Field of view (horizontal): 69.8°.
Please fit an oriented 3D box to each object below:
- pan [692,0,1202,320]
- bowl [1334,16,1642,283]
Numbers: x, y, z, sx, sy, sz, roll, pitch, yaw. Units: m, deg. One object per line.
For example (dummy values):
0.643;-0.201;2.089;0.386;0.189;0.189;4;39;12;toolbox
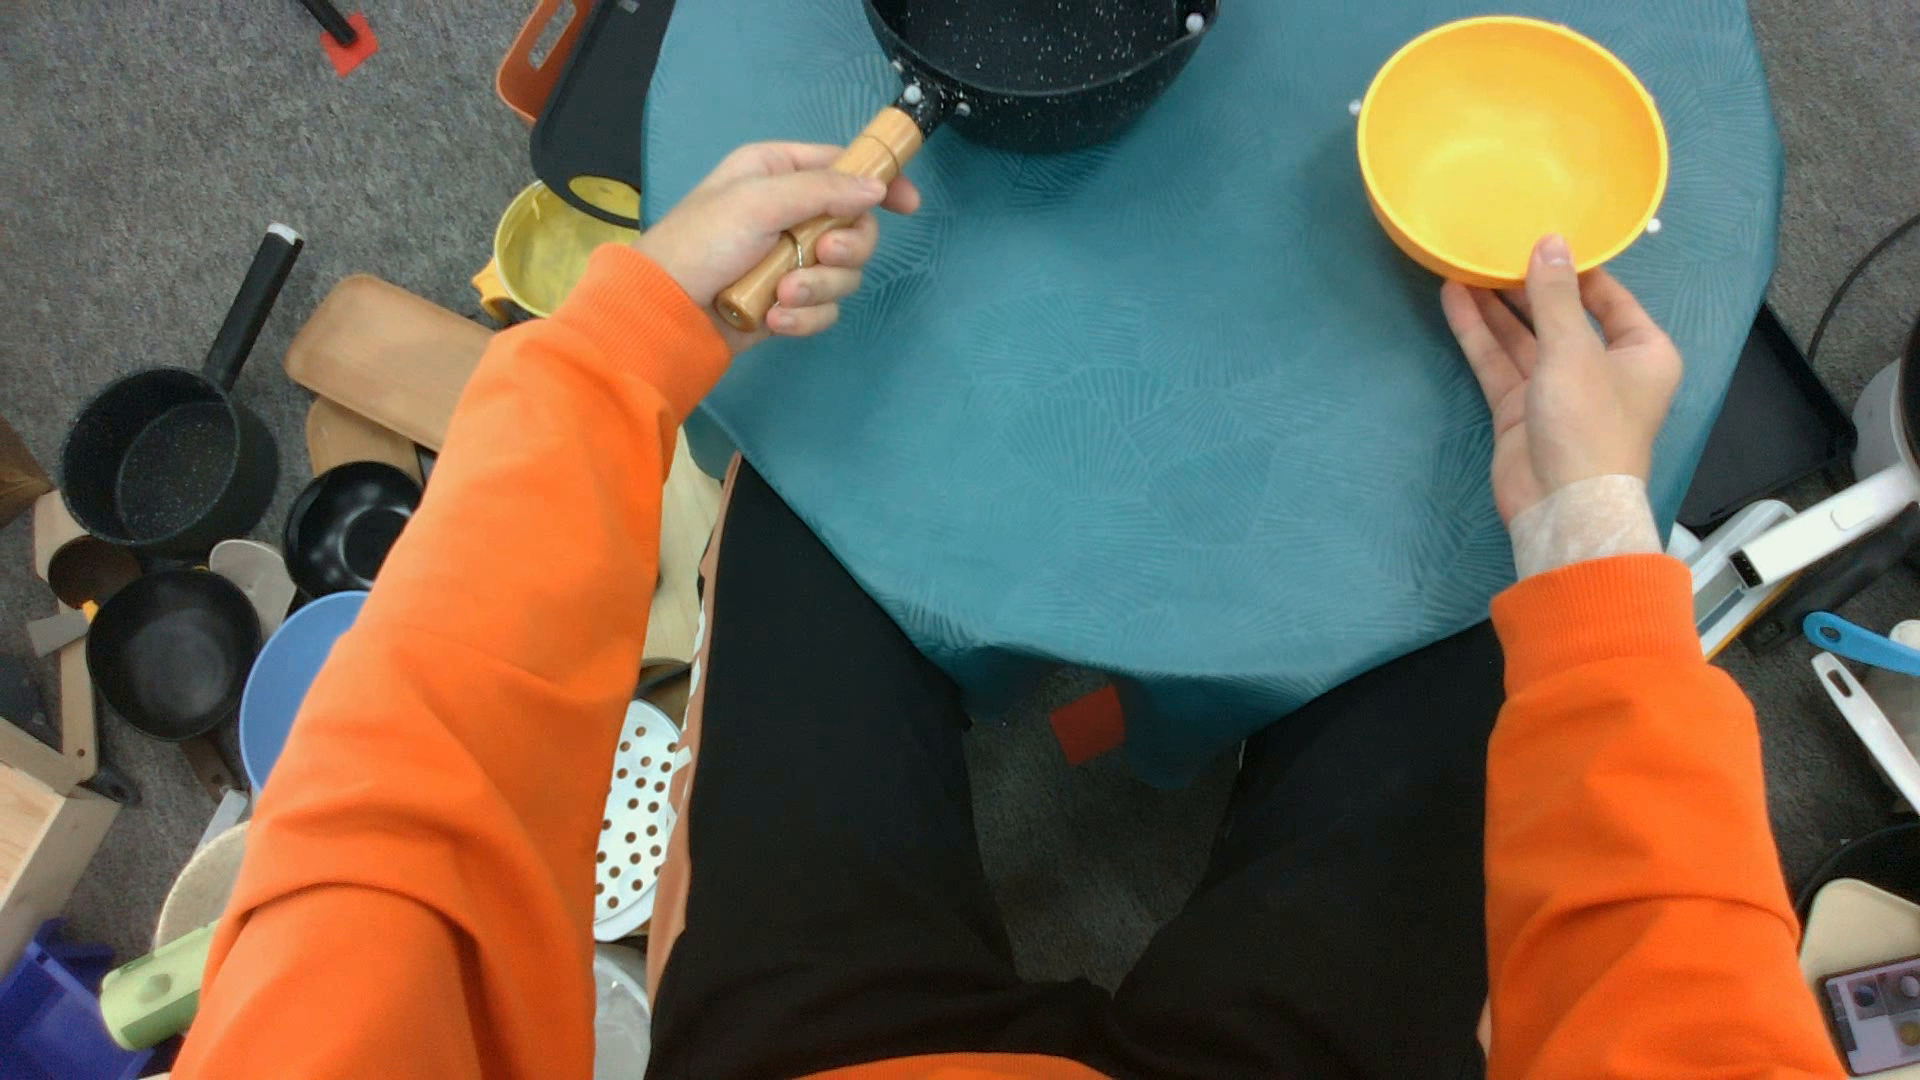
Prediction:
-0.012;-0.227;0.690;0.207;0.108;0.343;33;77;8;pan
0.256;-0.185;0.692;0.145;0.060;0.145;-1;73;4;bowl
